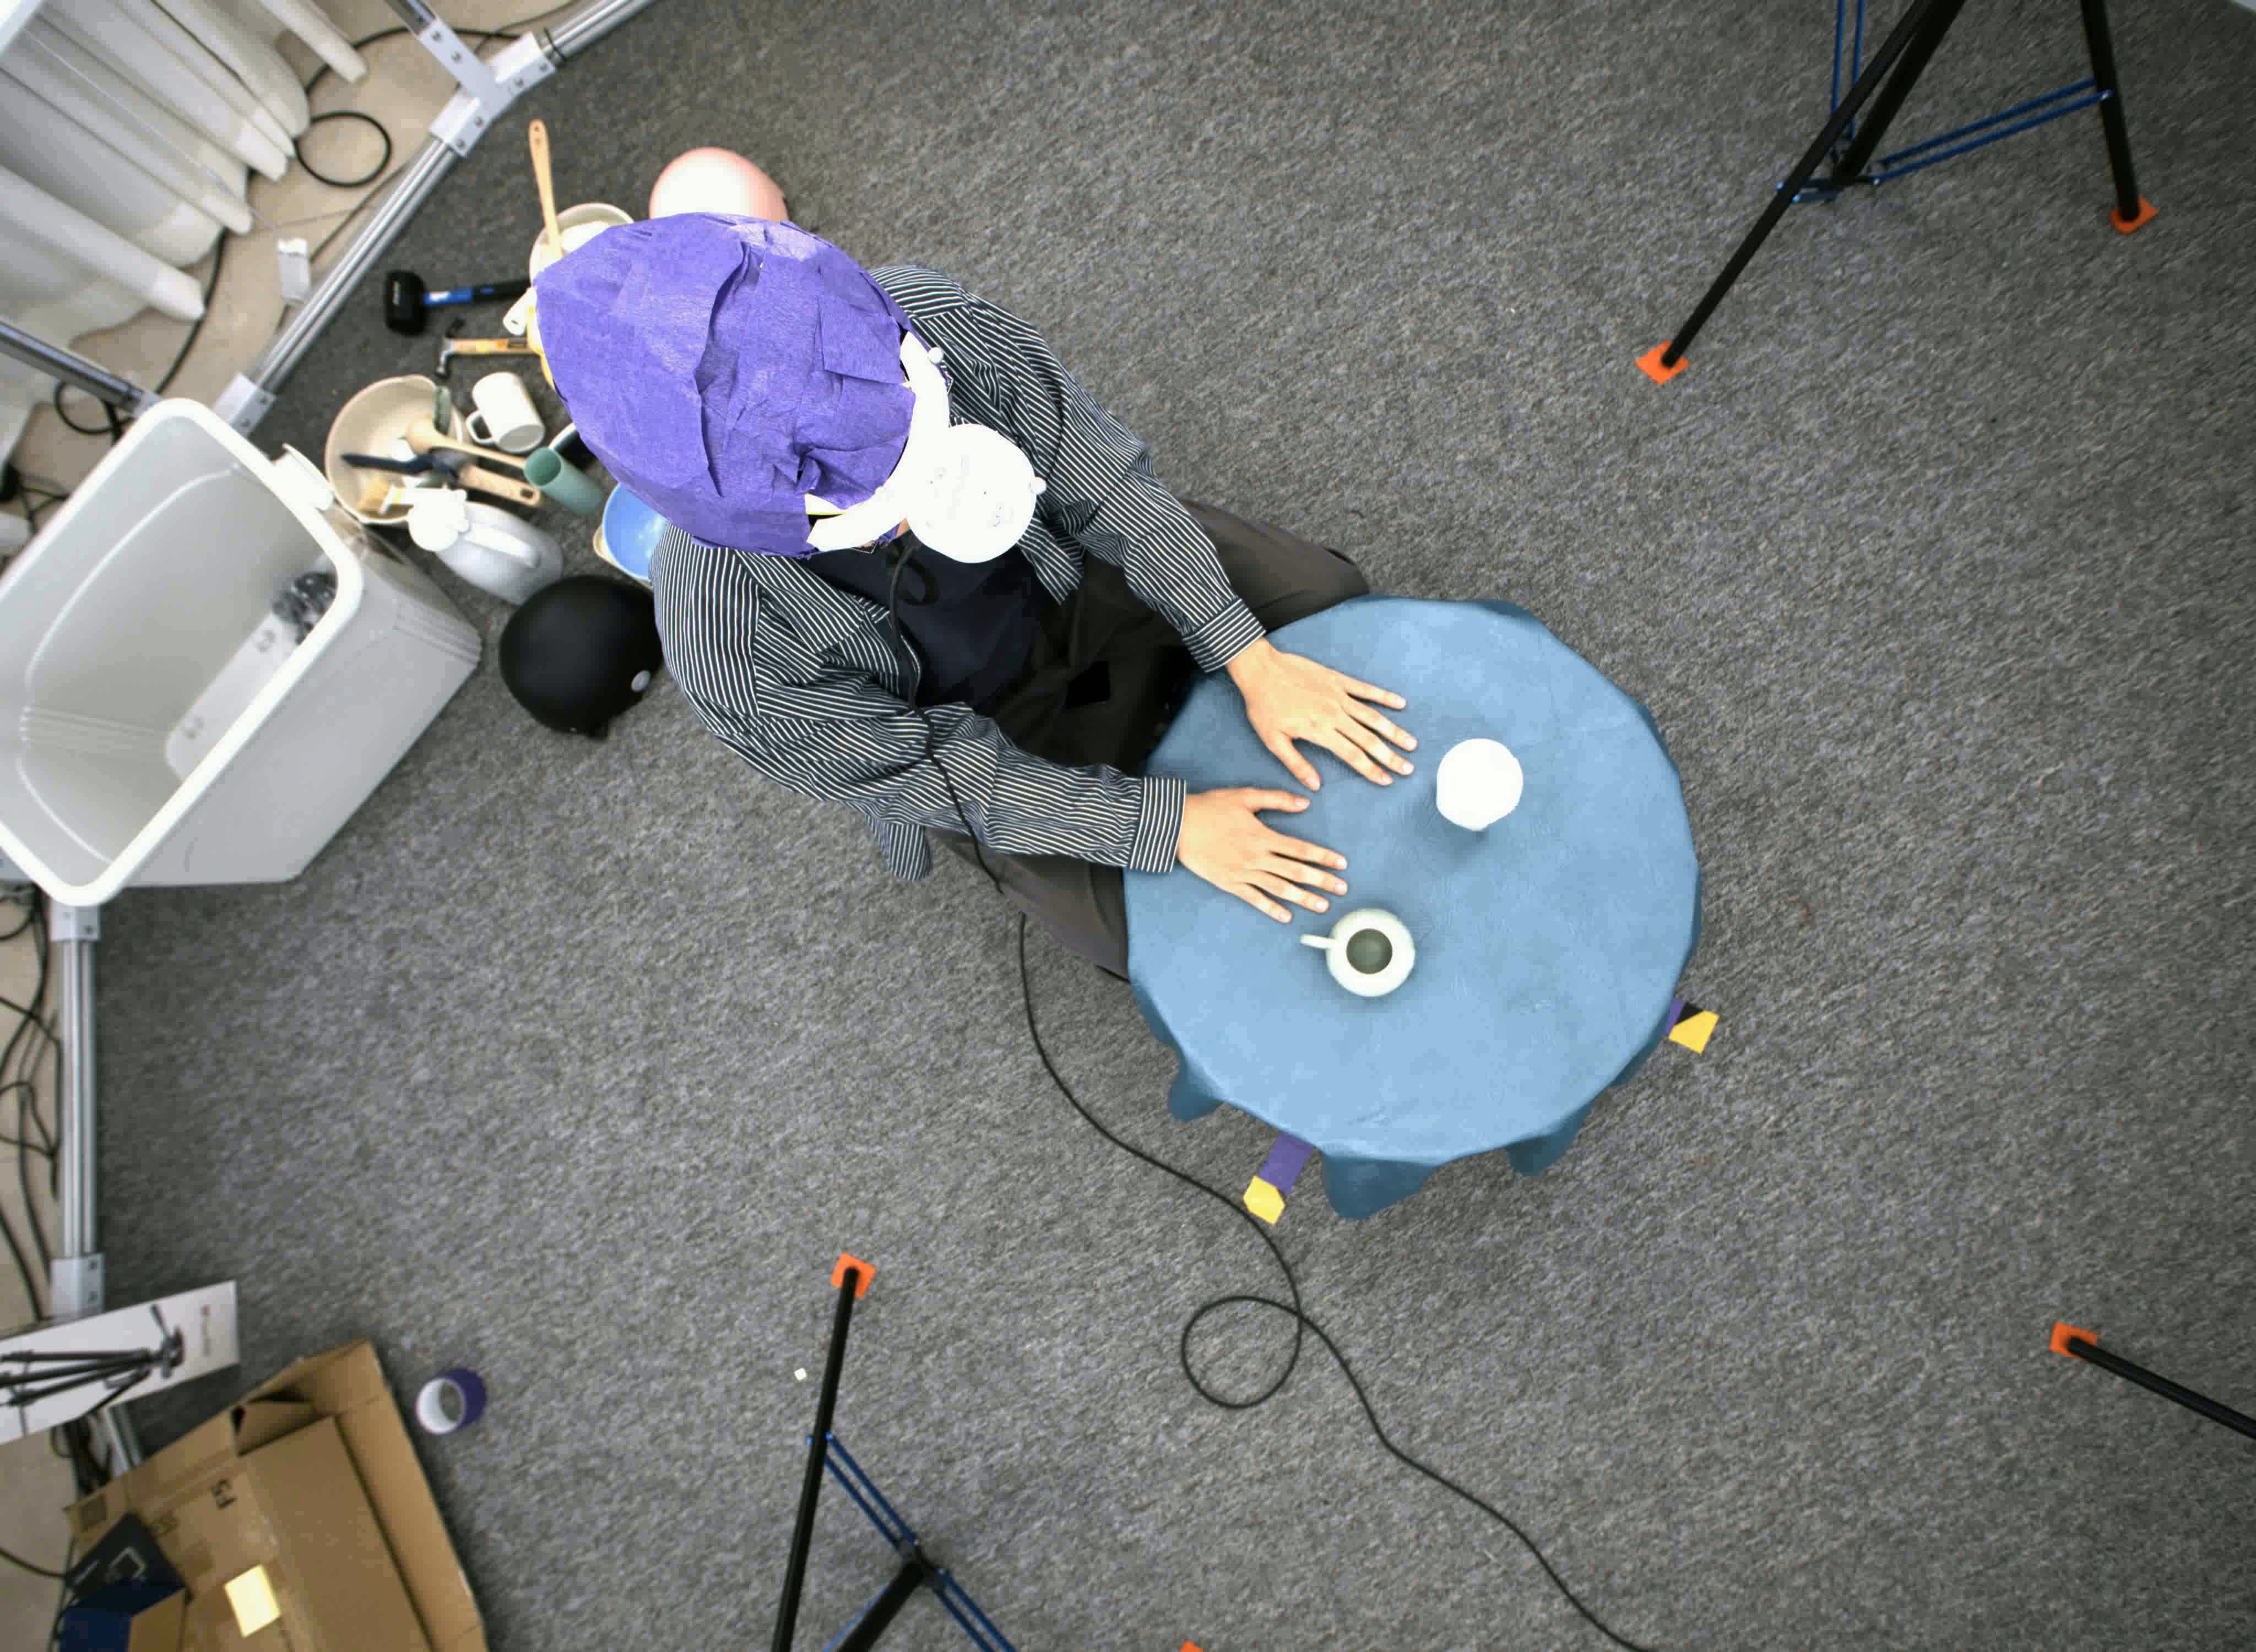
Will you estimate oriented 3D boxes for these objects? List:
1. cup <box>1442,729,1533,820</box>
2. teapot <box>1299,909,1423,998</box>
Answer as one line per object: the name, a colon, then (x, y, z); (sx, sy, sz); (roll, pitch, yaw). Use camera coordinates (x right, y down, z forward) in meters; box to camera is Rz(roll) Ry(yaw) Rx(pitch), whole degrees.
cup: (0.356, -0.049, 1.372); (0.082, 0.125, 0.081); (-1, 86, 9)
teapot: (0.239, 0.127, 1.422); (0.128, 0.061, 0.091); (15, 91, 11)
